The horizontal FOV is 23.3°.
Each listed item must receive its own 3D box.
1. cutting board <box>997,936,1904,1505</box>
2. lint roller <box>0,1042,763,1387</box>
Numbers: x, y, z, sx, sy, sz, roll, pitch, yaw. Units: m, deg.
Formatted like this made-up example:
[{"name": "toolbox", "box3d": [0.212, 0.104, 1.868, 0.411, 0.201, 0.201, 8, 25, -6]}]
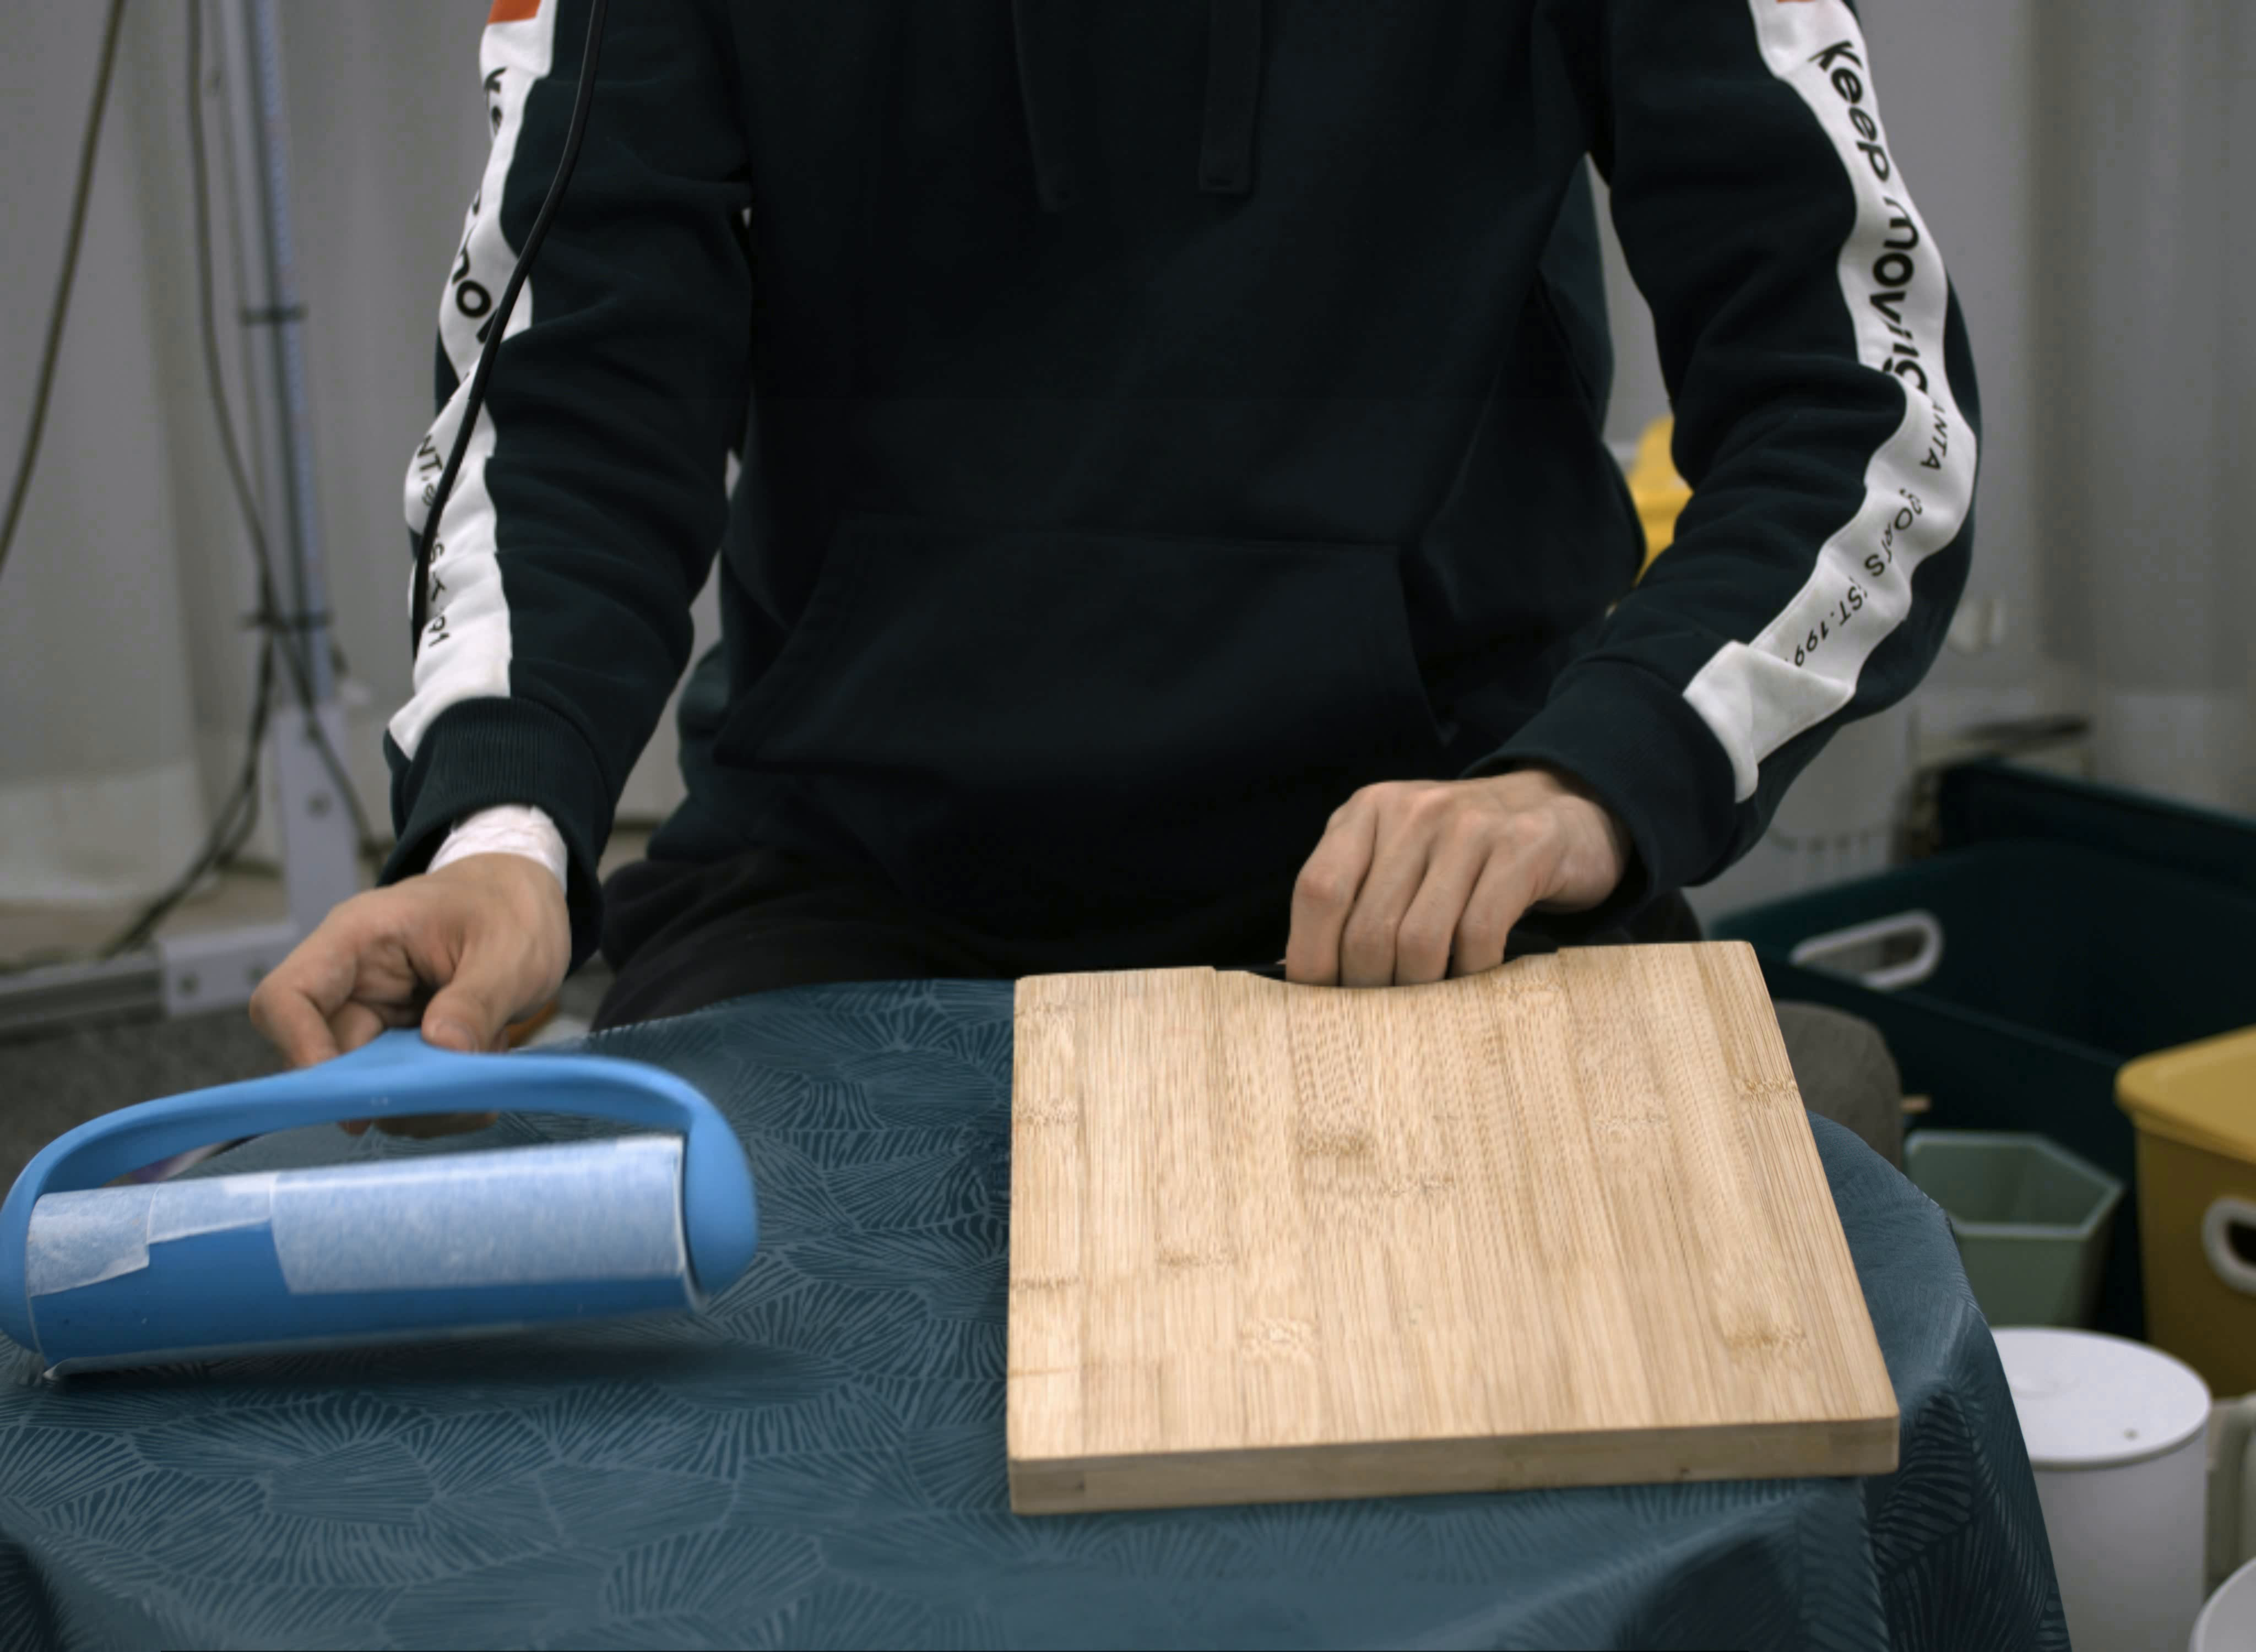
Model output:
[{"name": "cutting board", "box3d": [0.086, 0.111, 1.618, 0.250, 0.023, 0.352, -3, 21, 0]}, {"name": "lint roller", "box3d": [-0.220, 0.100, 1.641, 0.228, 0.067, 0.182, -7, 26, 3]}]
